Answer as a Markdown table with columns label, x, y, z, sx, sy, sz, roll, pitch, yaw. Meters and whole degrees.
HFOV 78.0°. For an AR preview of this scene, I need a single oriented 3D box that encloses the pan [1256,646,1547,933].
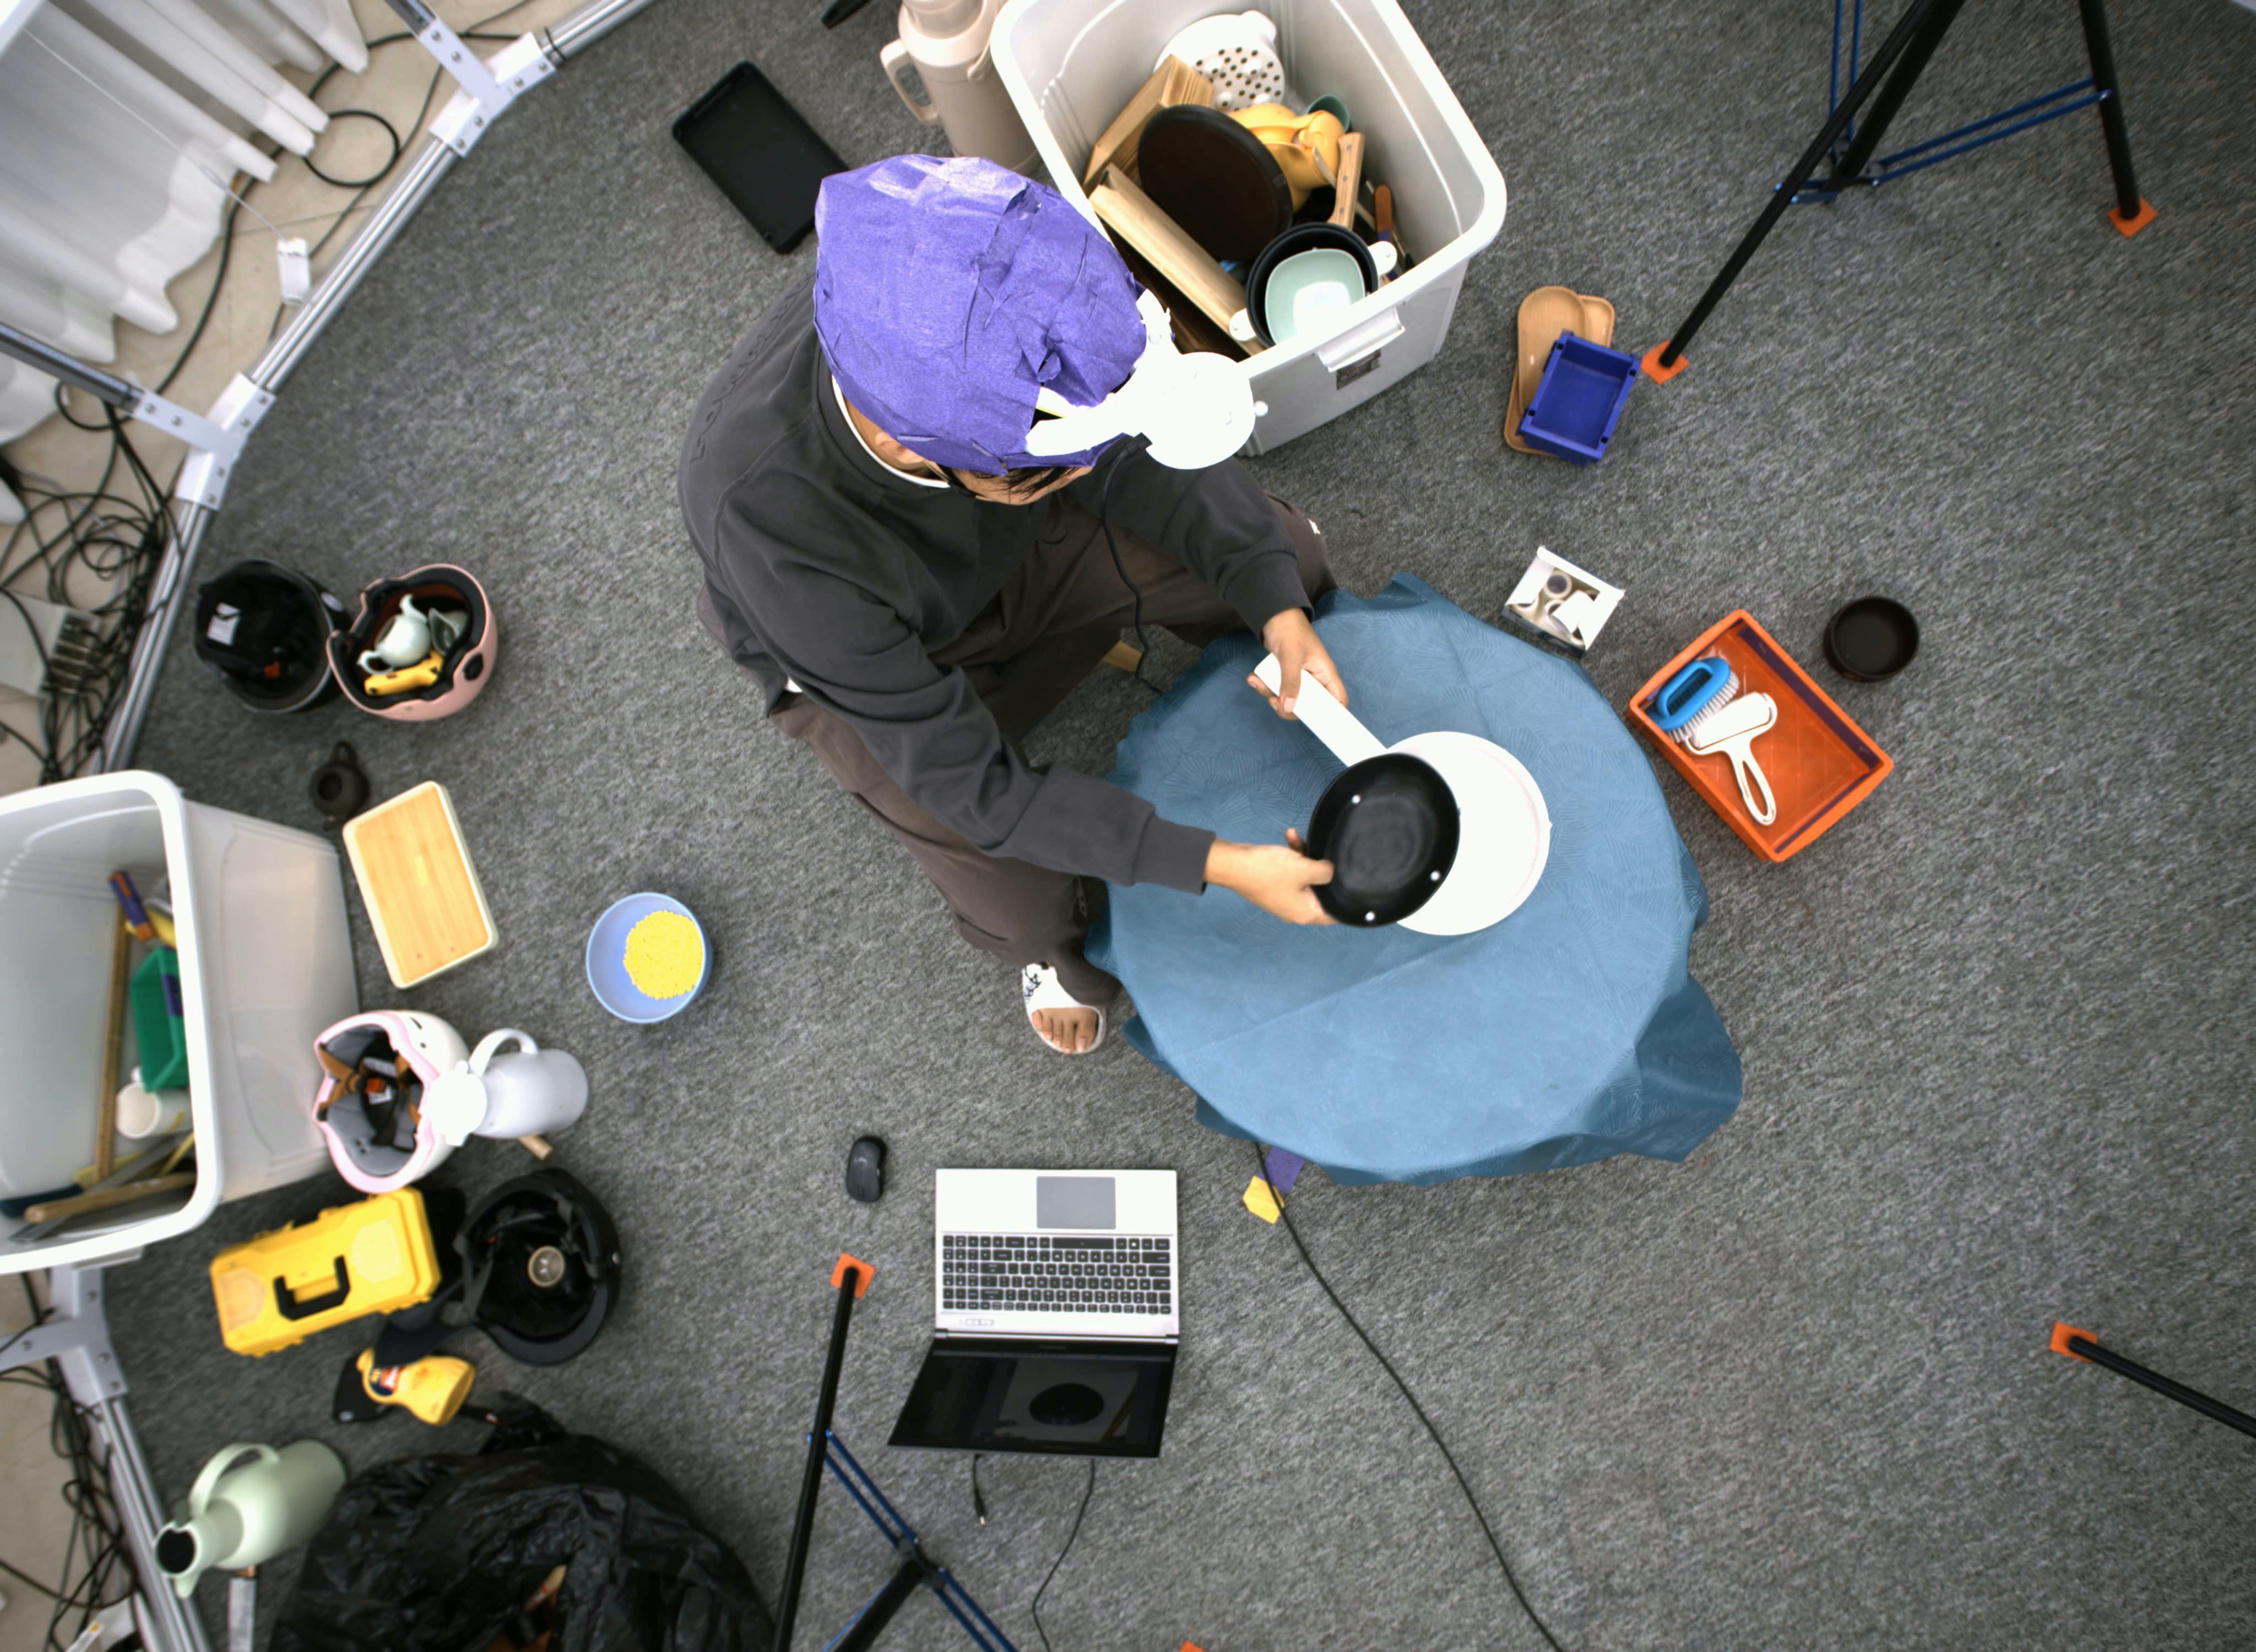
| label | x | y | z | sx | sy | sz | roll | pitch | yaw |
| --- | --- | --- | --- | --- | --- | --- | --- | --- | --- |
| pan | 0.270 | -0.044 | 1.423 | 0.202 | 0.102 | 0.352 | -45 | 77 | 7 |

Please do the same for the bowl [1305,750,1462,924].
| label | x | y | z | sx | sy | sz | roll | pitch | yaw |
| --- | --- | --- | --- | --- | --- | --- | --- | --- | --- |
| bowl | 0.242 | 0.012 | 1.300 | 0.137 | 0.066 | 0.171 | 26 | 97 | 16 |
